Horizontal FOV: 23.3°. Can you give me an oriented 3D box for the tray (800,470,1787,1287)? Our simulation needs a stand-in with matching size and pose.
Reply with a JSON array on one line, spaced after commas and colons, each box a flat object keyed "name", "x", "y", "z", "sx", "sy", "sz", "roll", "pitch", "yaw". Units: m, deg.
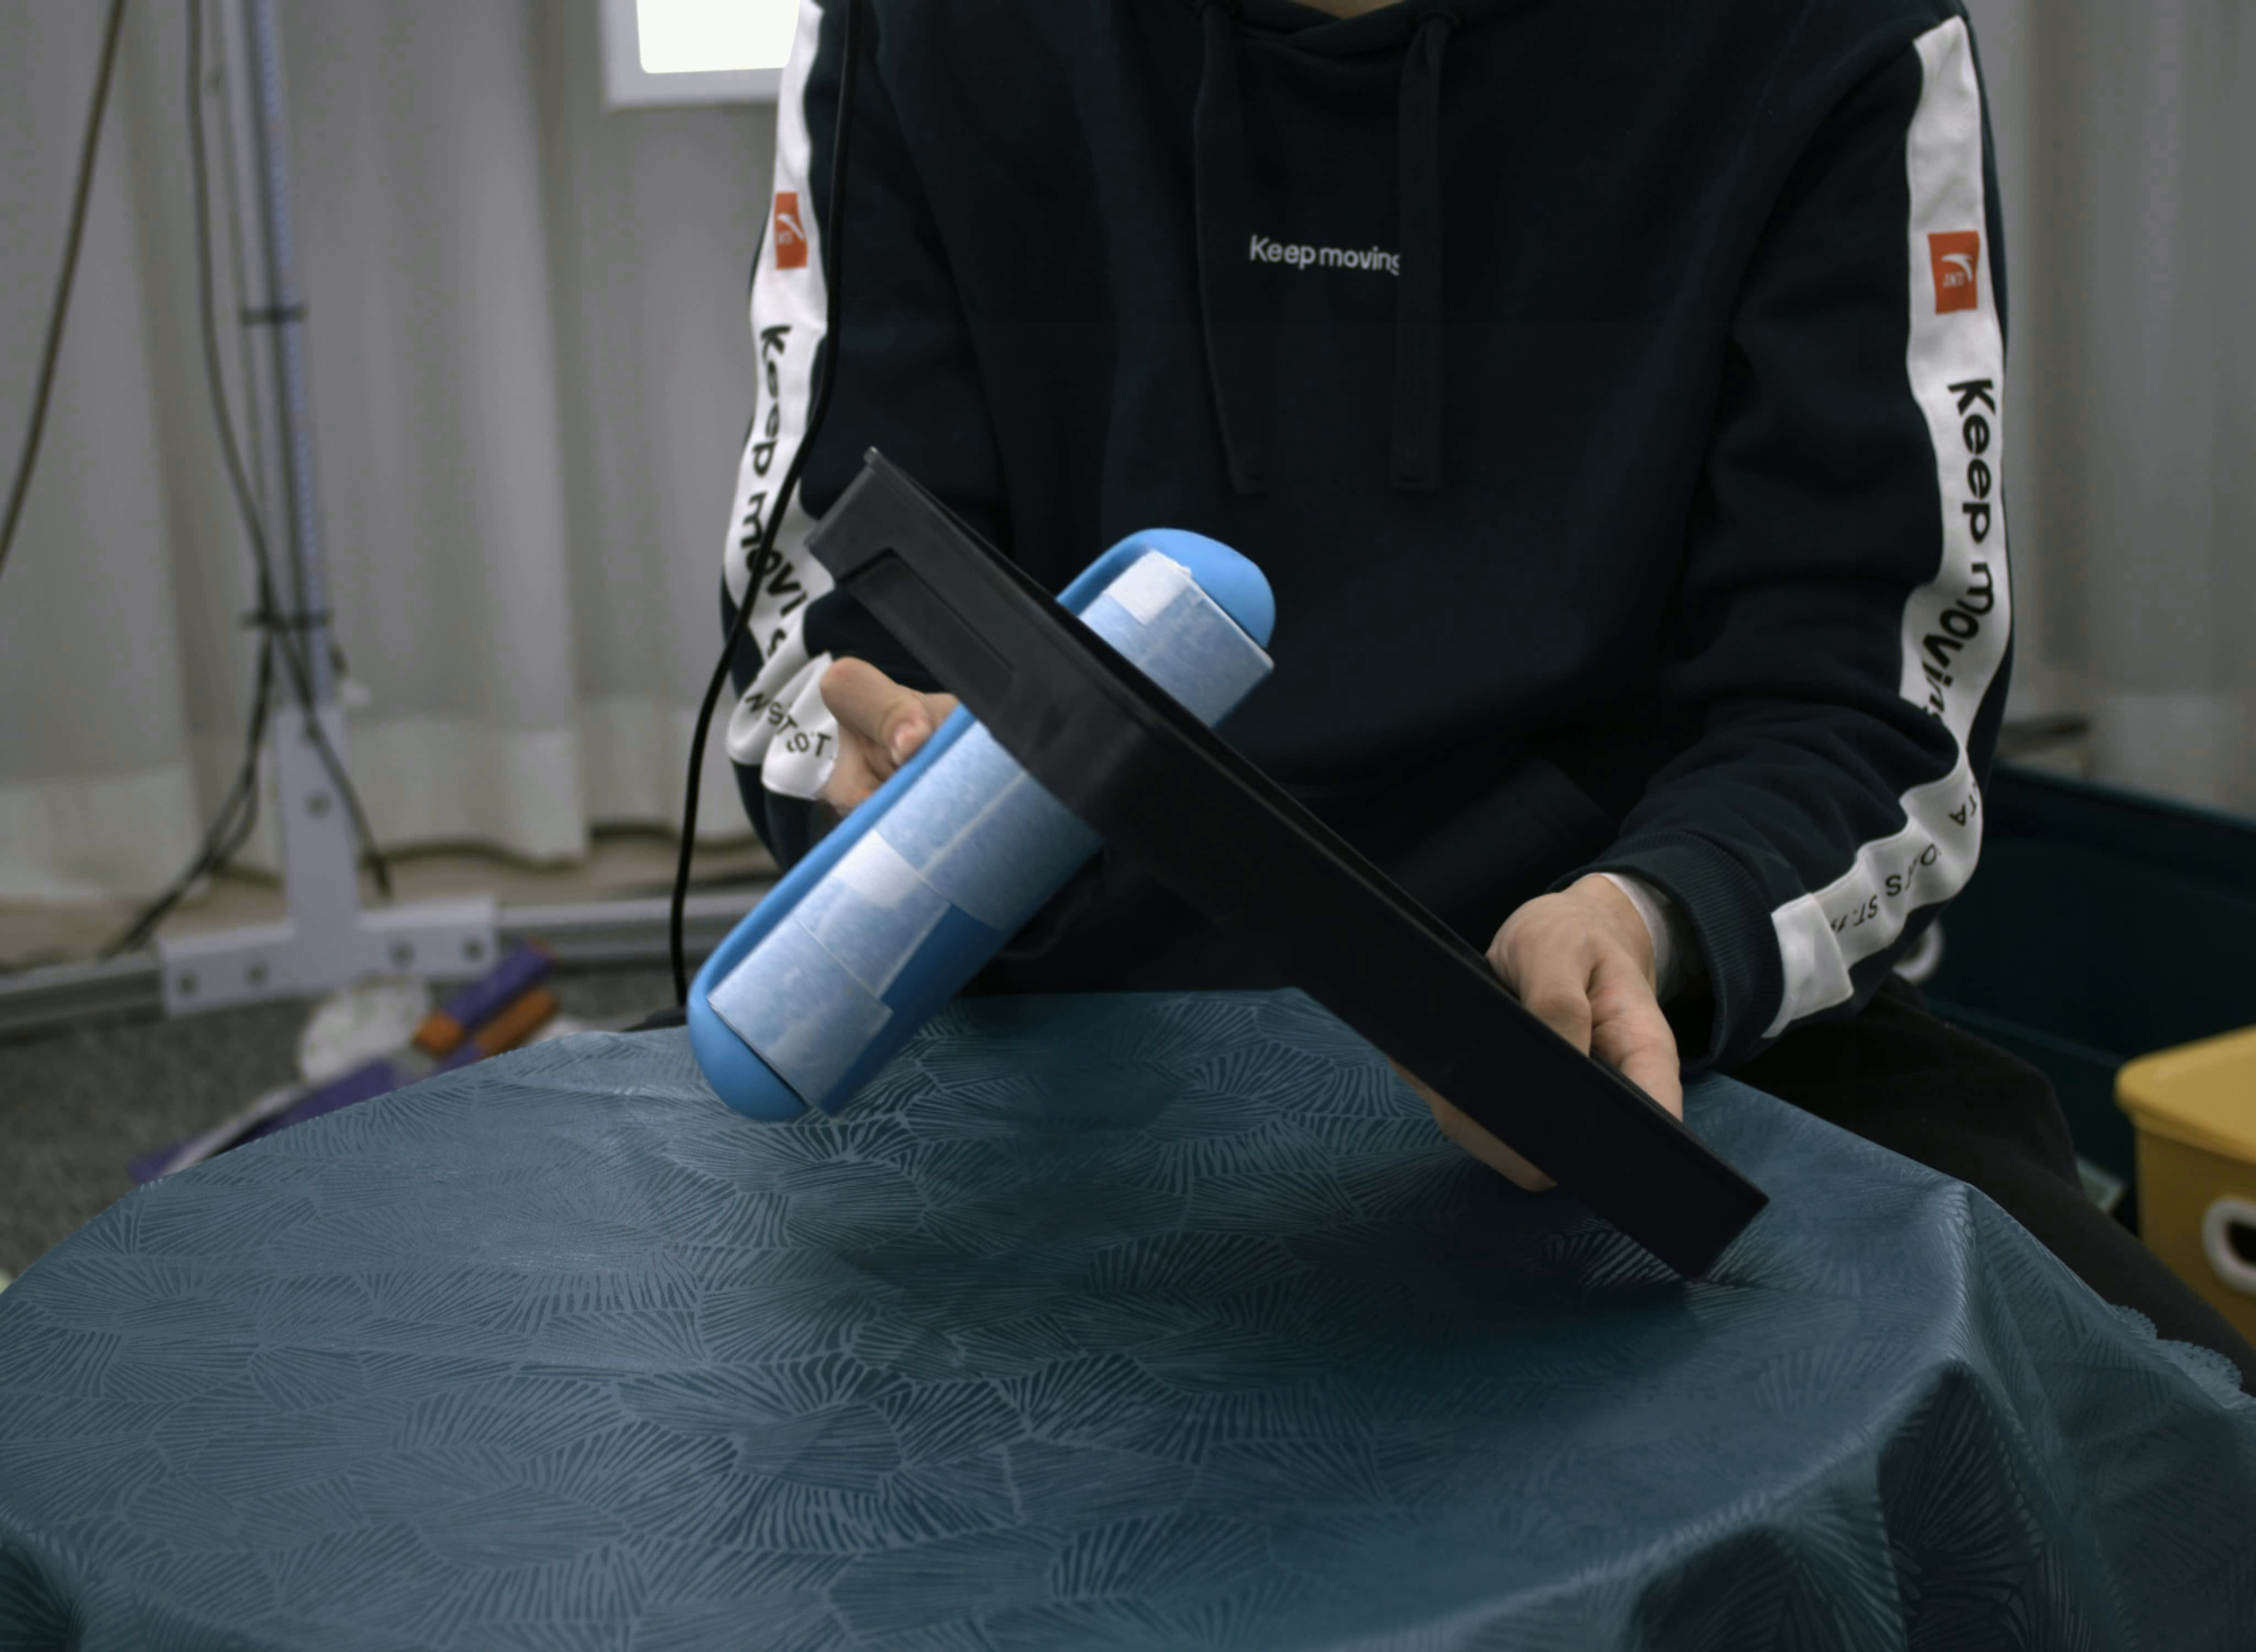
[{"name": "tray", "x": 0.049, "y": 0.019, "z": 1.570, "sx": 0.314, "sy": 0.037, "sz": 0.186, "roll": 37, "pitch": 3, "yaw": -39}]

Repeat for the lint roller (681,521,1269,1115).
[{"name": "lint roller", "x": -0.049, "y": 0.001, "z": 1.712, "sx": 0.229, "sy": 0.068, "sz": 0.180, "roll": -47, "pitch": 2, "yaw": -5}]
